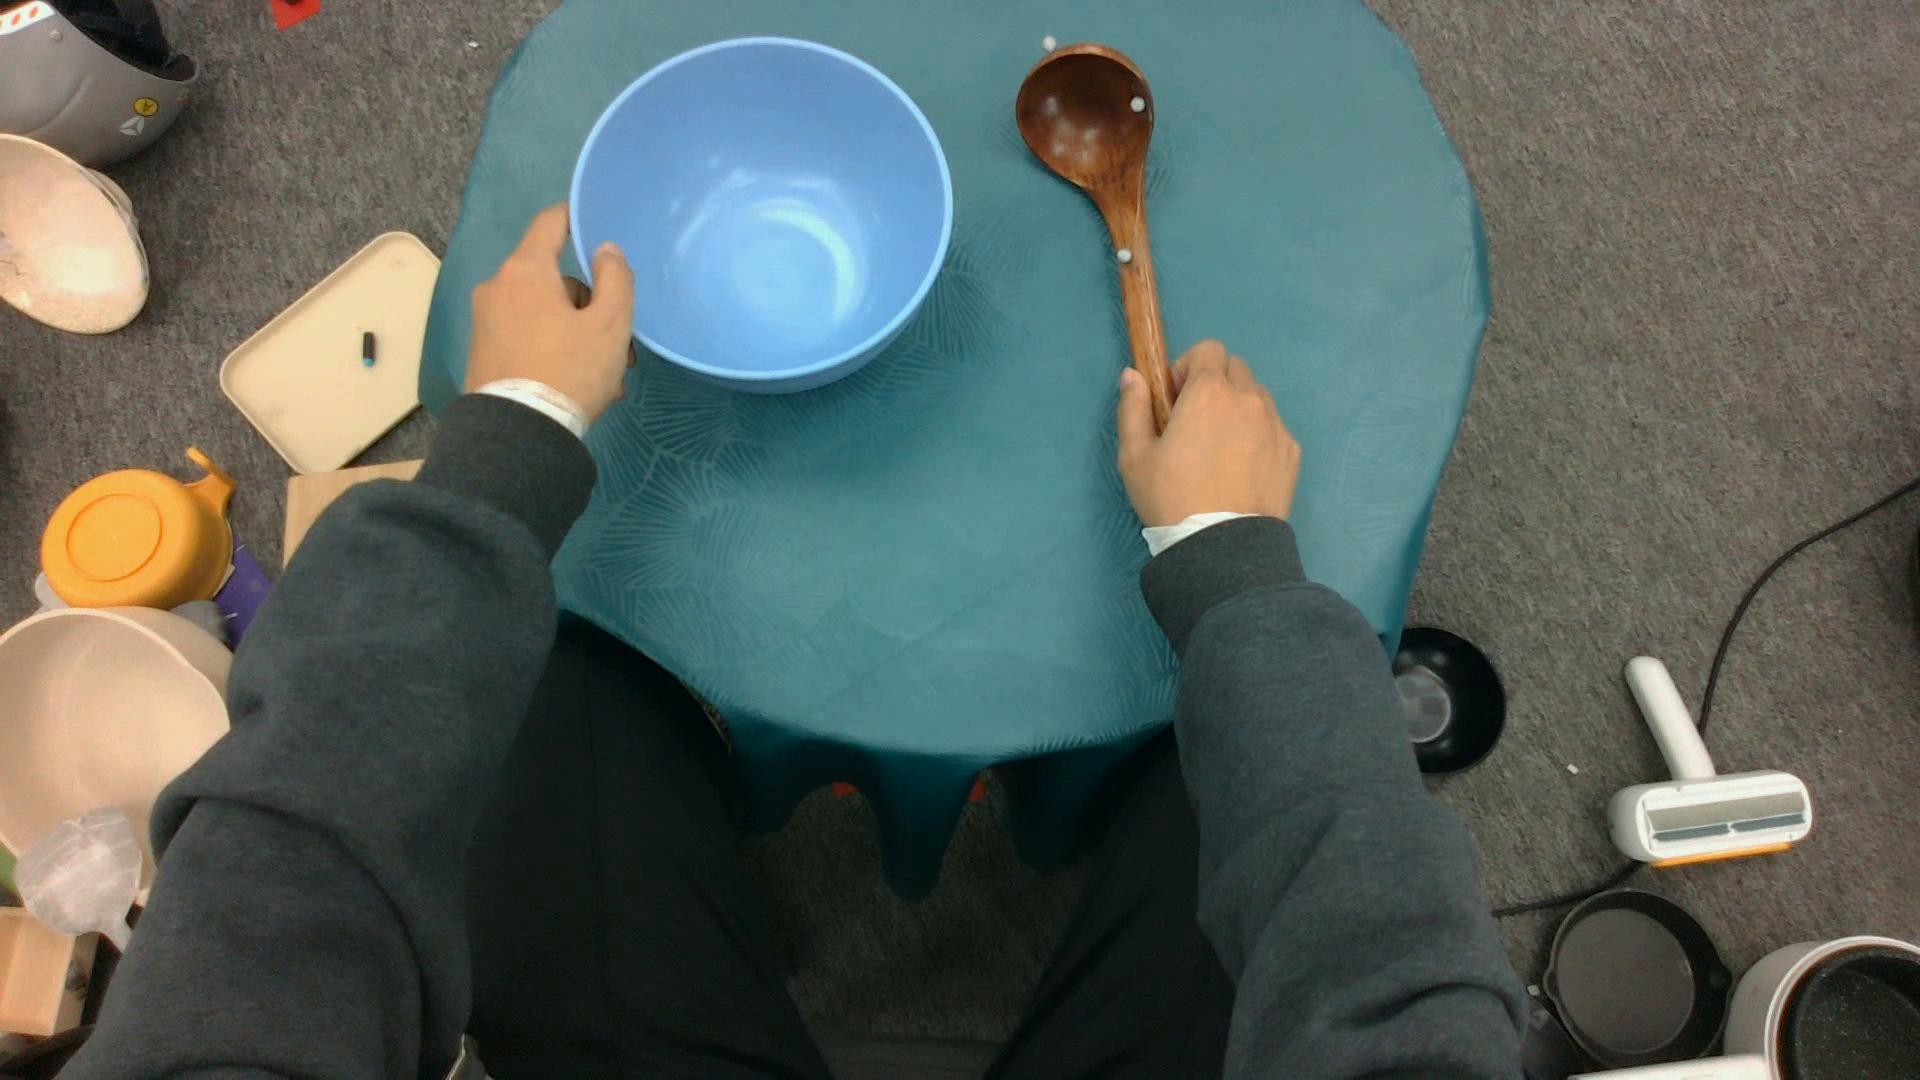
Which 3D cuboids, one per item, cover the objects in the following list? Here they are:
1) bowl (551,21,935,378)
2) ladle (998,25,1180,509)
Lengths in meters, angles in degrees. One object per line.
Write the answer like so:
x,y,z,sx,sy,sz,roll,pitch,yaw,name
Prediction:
-0.113,-0.170,0.752,0.196,0.095,0.197,1,75,-3,bowl
0.078,-0.155,0.764,0.081,0.077,0.274,-18,71,34,ladle
